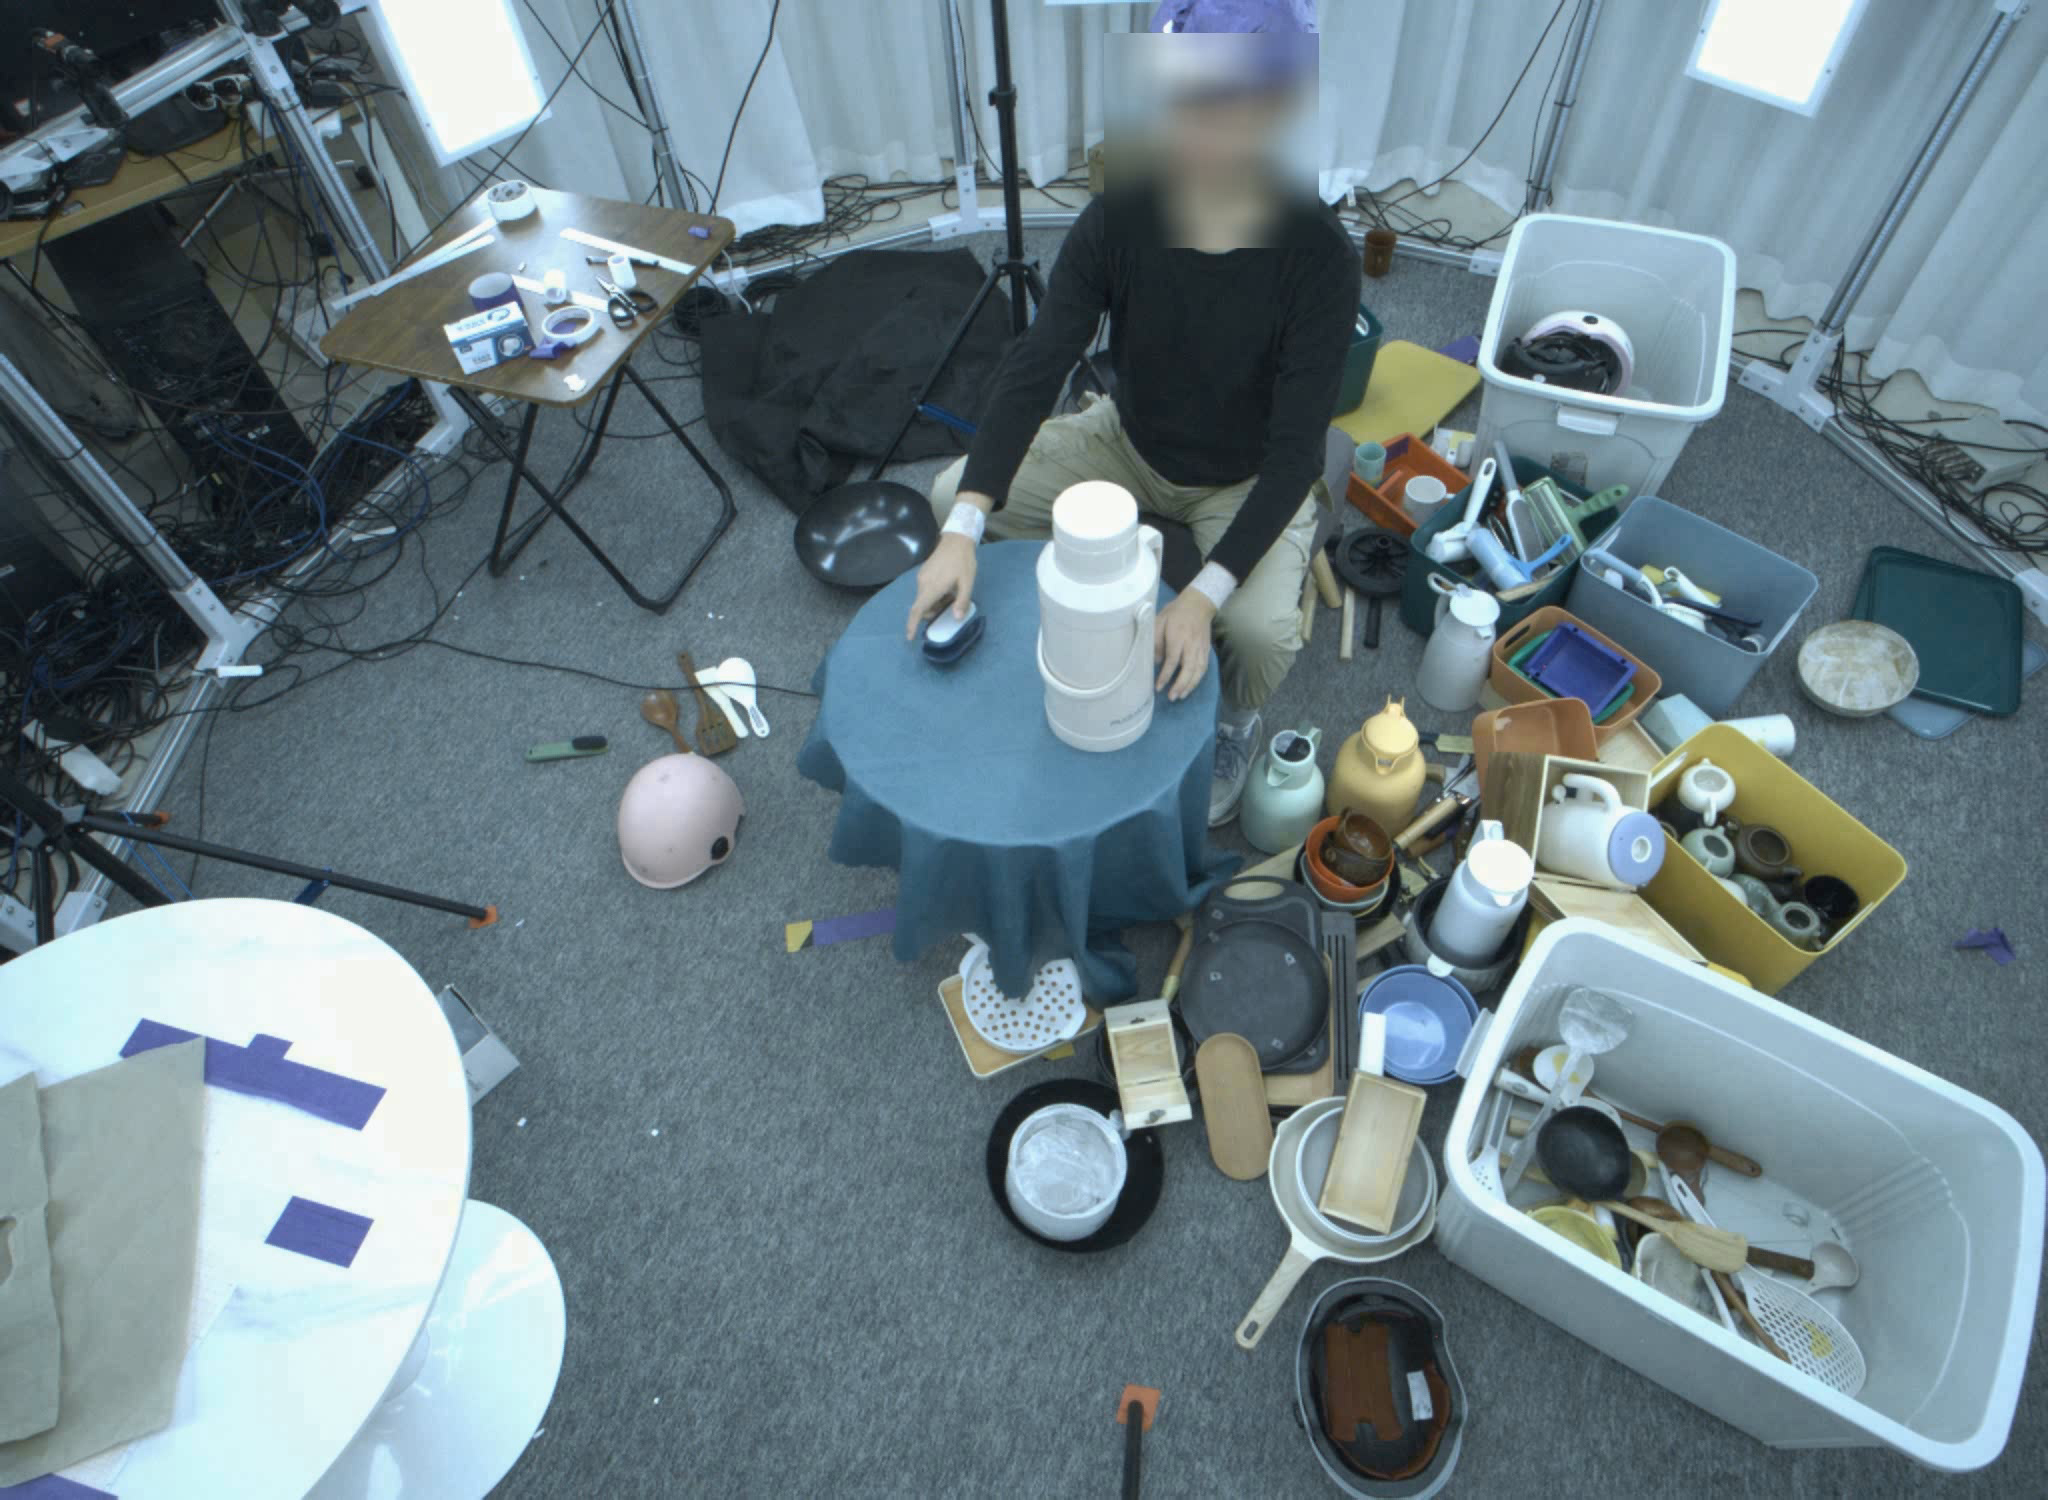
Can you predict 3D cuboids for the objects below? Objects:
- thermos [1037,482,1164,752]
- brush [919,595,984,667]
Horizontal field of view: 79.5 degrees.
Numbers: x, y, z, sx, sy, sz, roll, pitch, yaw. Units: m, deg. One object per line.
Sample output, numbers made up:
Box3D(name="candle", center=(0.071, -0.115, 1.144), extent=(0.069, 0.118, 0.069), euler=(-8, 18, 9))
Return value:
Box3D(name="thermos", center=(0.112, -0.184, 1.669), extent=(0.172, 0.411, 0.208), euler=(36, 65, 27))
Box3D(name="brush", center=(-0.112, -0.181, 1.886), extent=(0.067, 0.062, 0.122), euler=(31, 63, 22))
